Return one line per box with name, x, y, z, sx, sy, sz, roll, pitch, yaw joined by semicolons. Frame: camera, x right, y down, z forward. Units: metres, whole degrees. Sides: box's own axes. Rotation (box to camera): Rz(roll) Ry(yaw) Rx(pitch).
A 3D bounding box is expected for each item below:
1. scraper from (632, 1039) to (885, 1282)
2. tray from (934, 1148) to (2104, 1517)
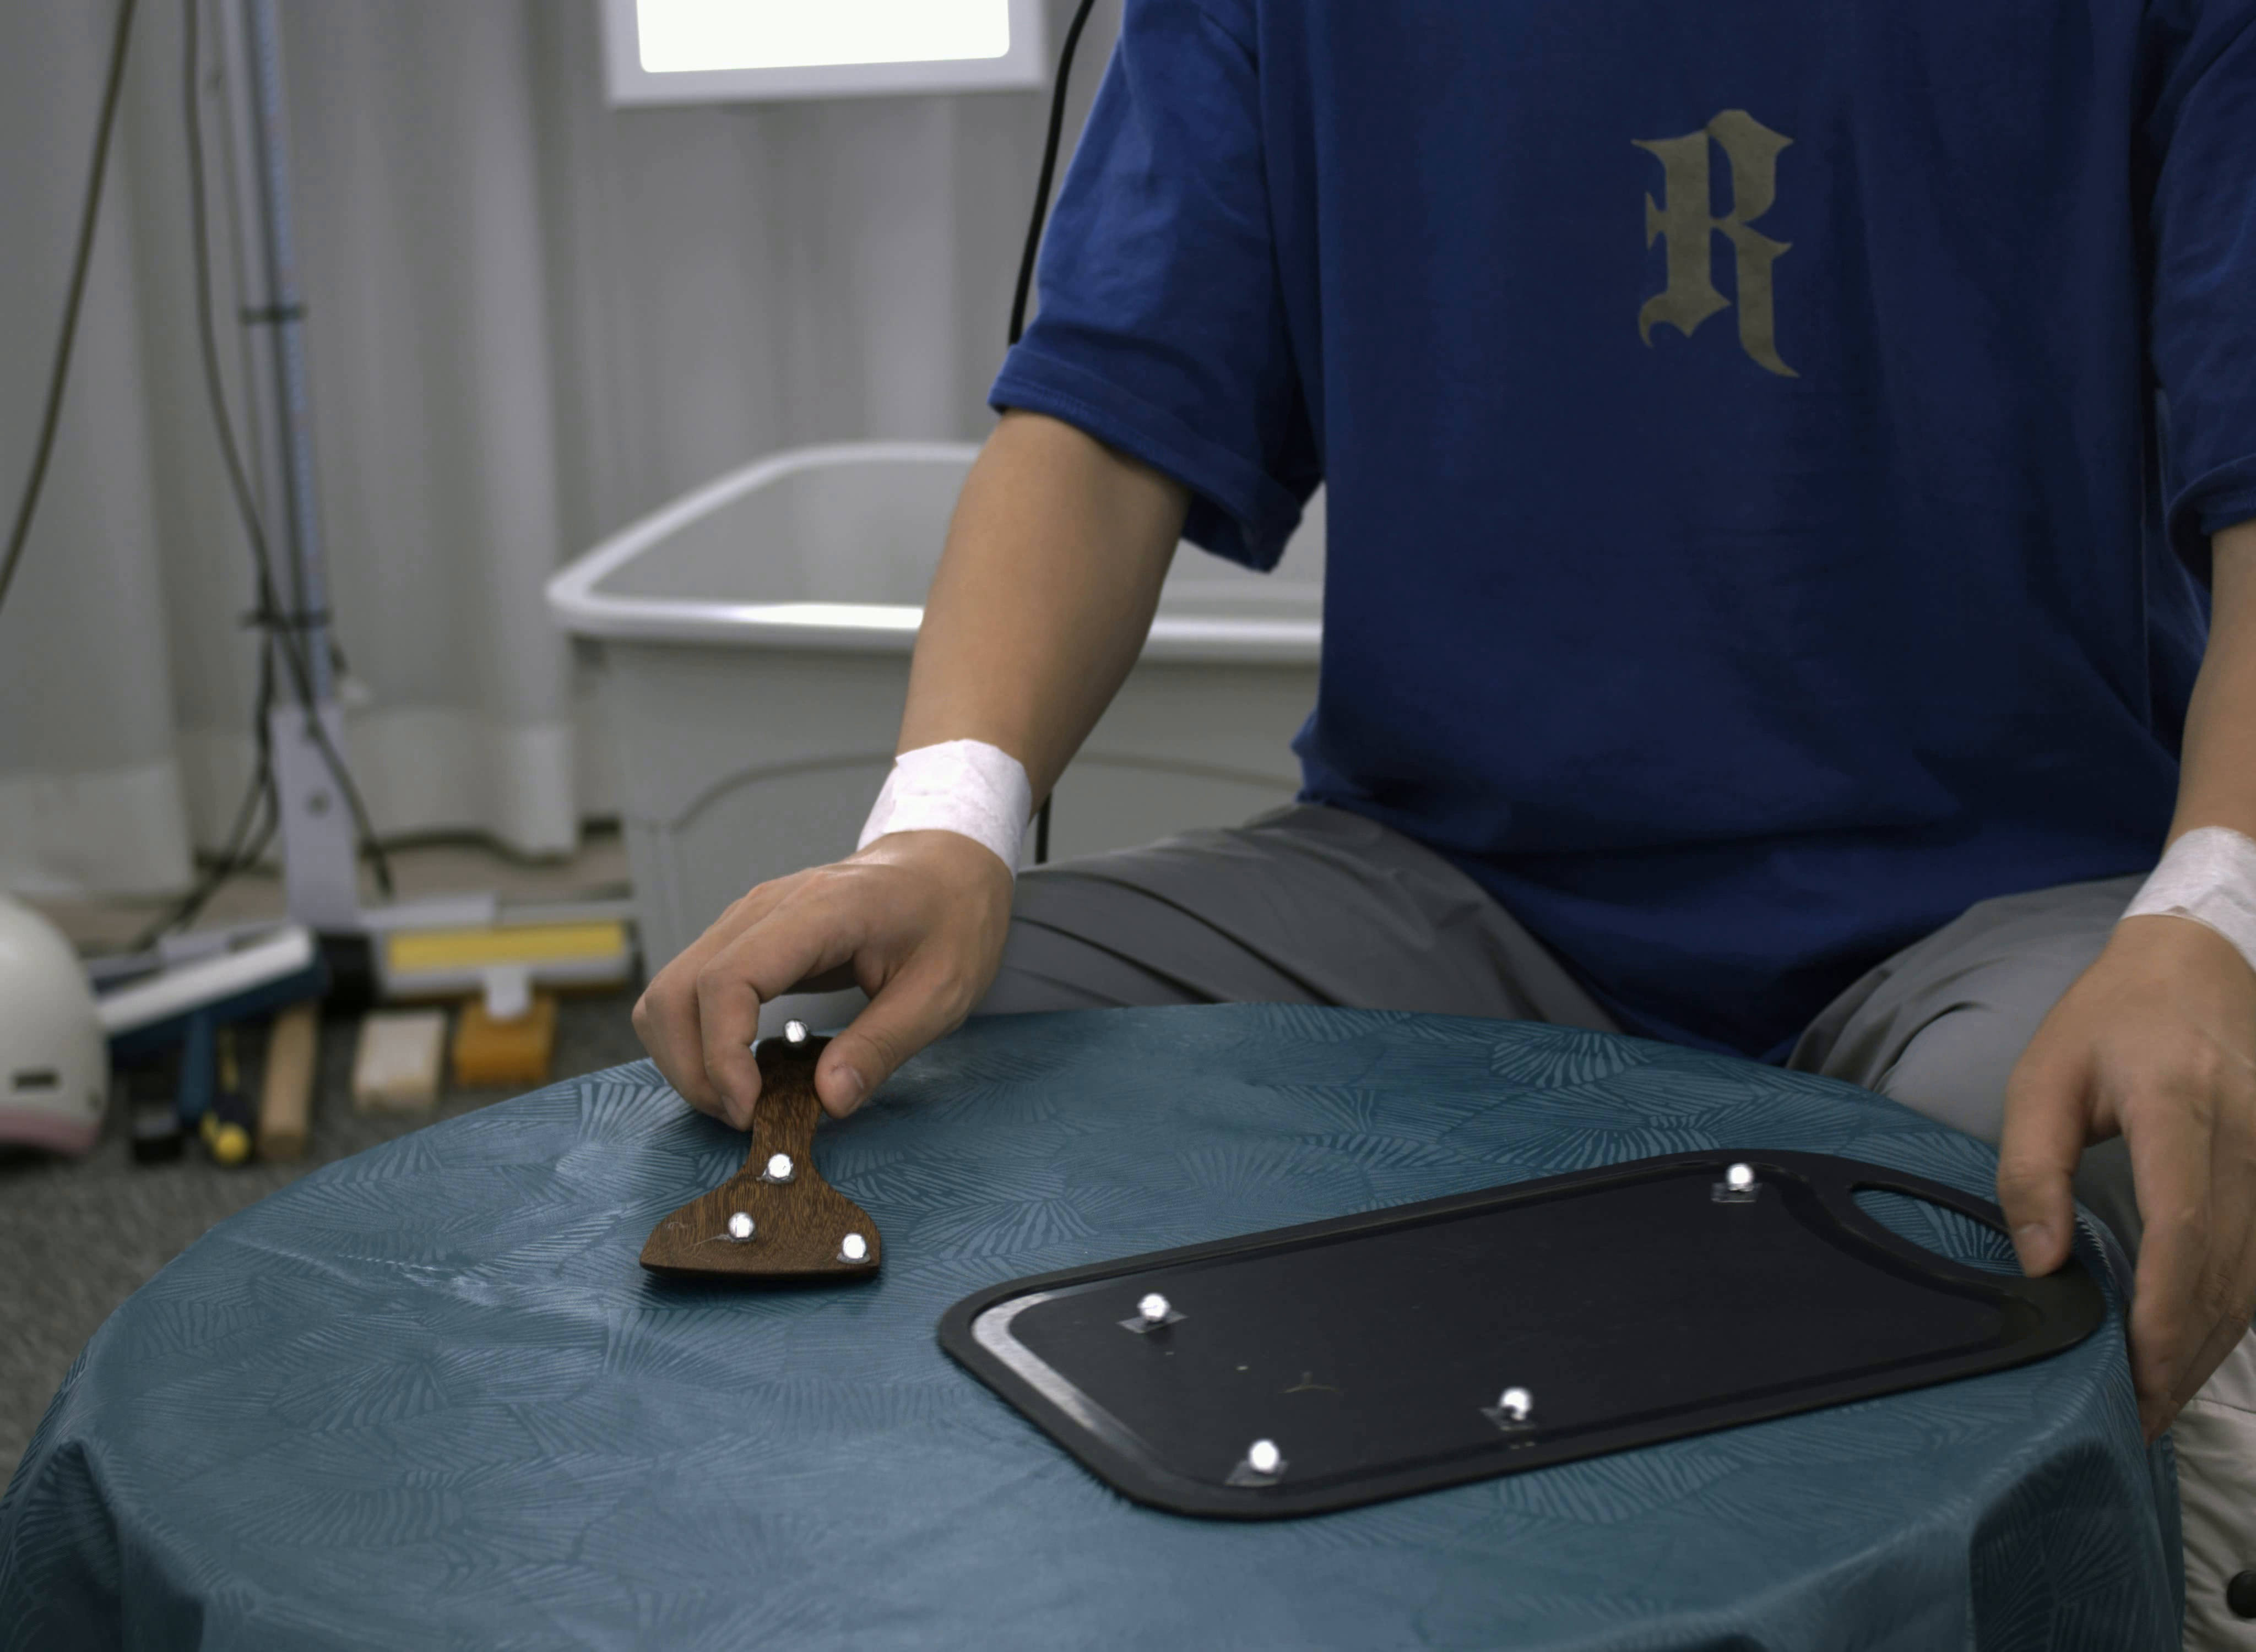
scraper;-0.111;0.105;1.732;0.075;0.011;0.213;1;18;0
tray;0.117;0.139;1.582;0.324;0.010;0.213;-9;16;-21
